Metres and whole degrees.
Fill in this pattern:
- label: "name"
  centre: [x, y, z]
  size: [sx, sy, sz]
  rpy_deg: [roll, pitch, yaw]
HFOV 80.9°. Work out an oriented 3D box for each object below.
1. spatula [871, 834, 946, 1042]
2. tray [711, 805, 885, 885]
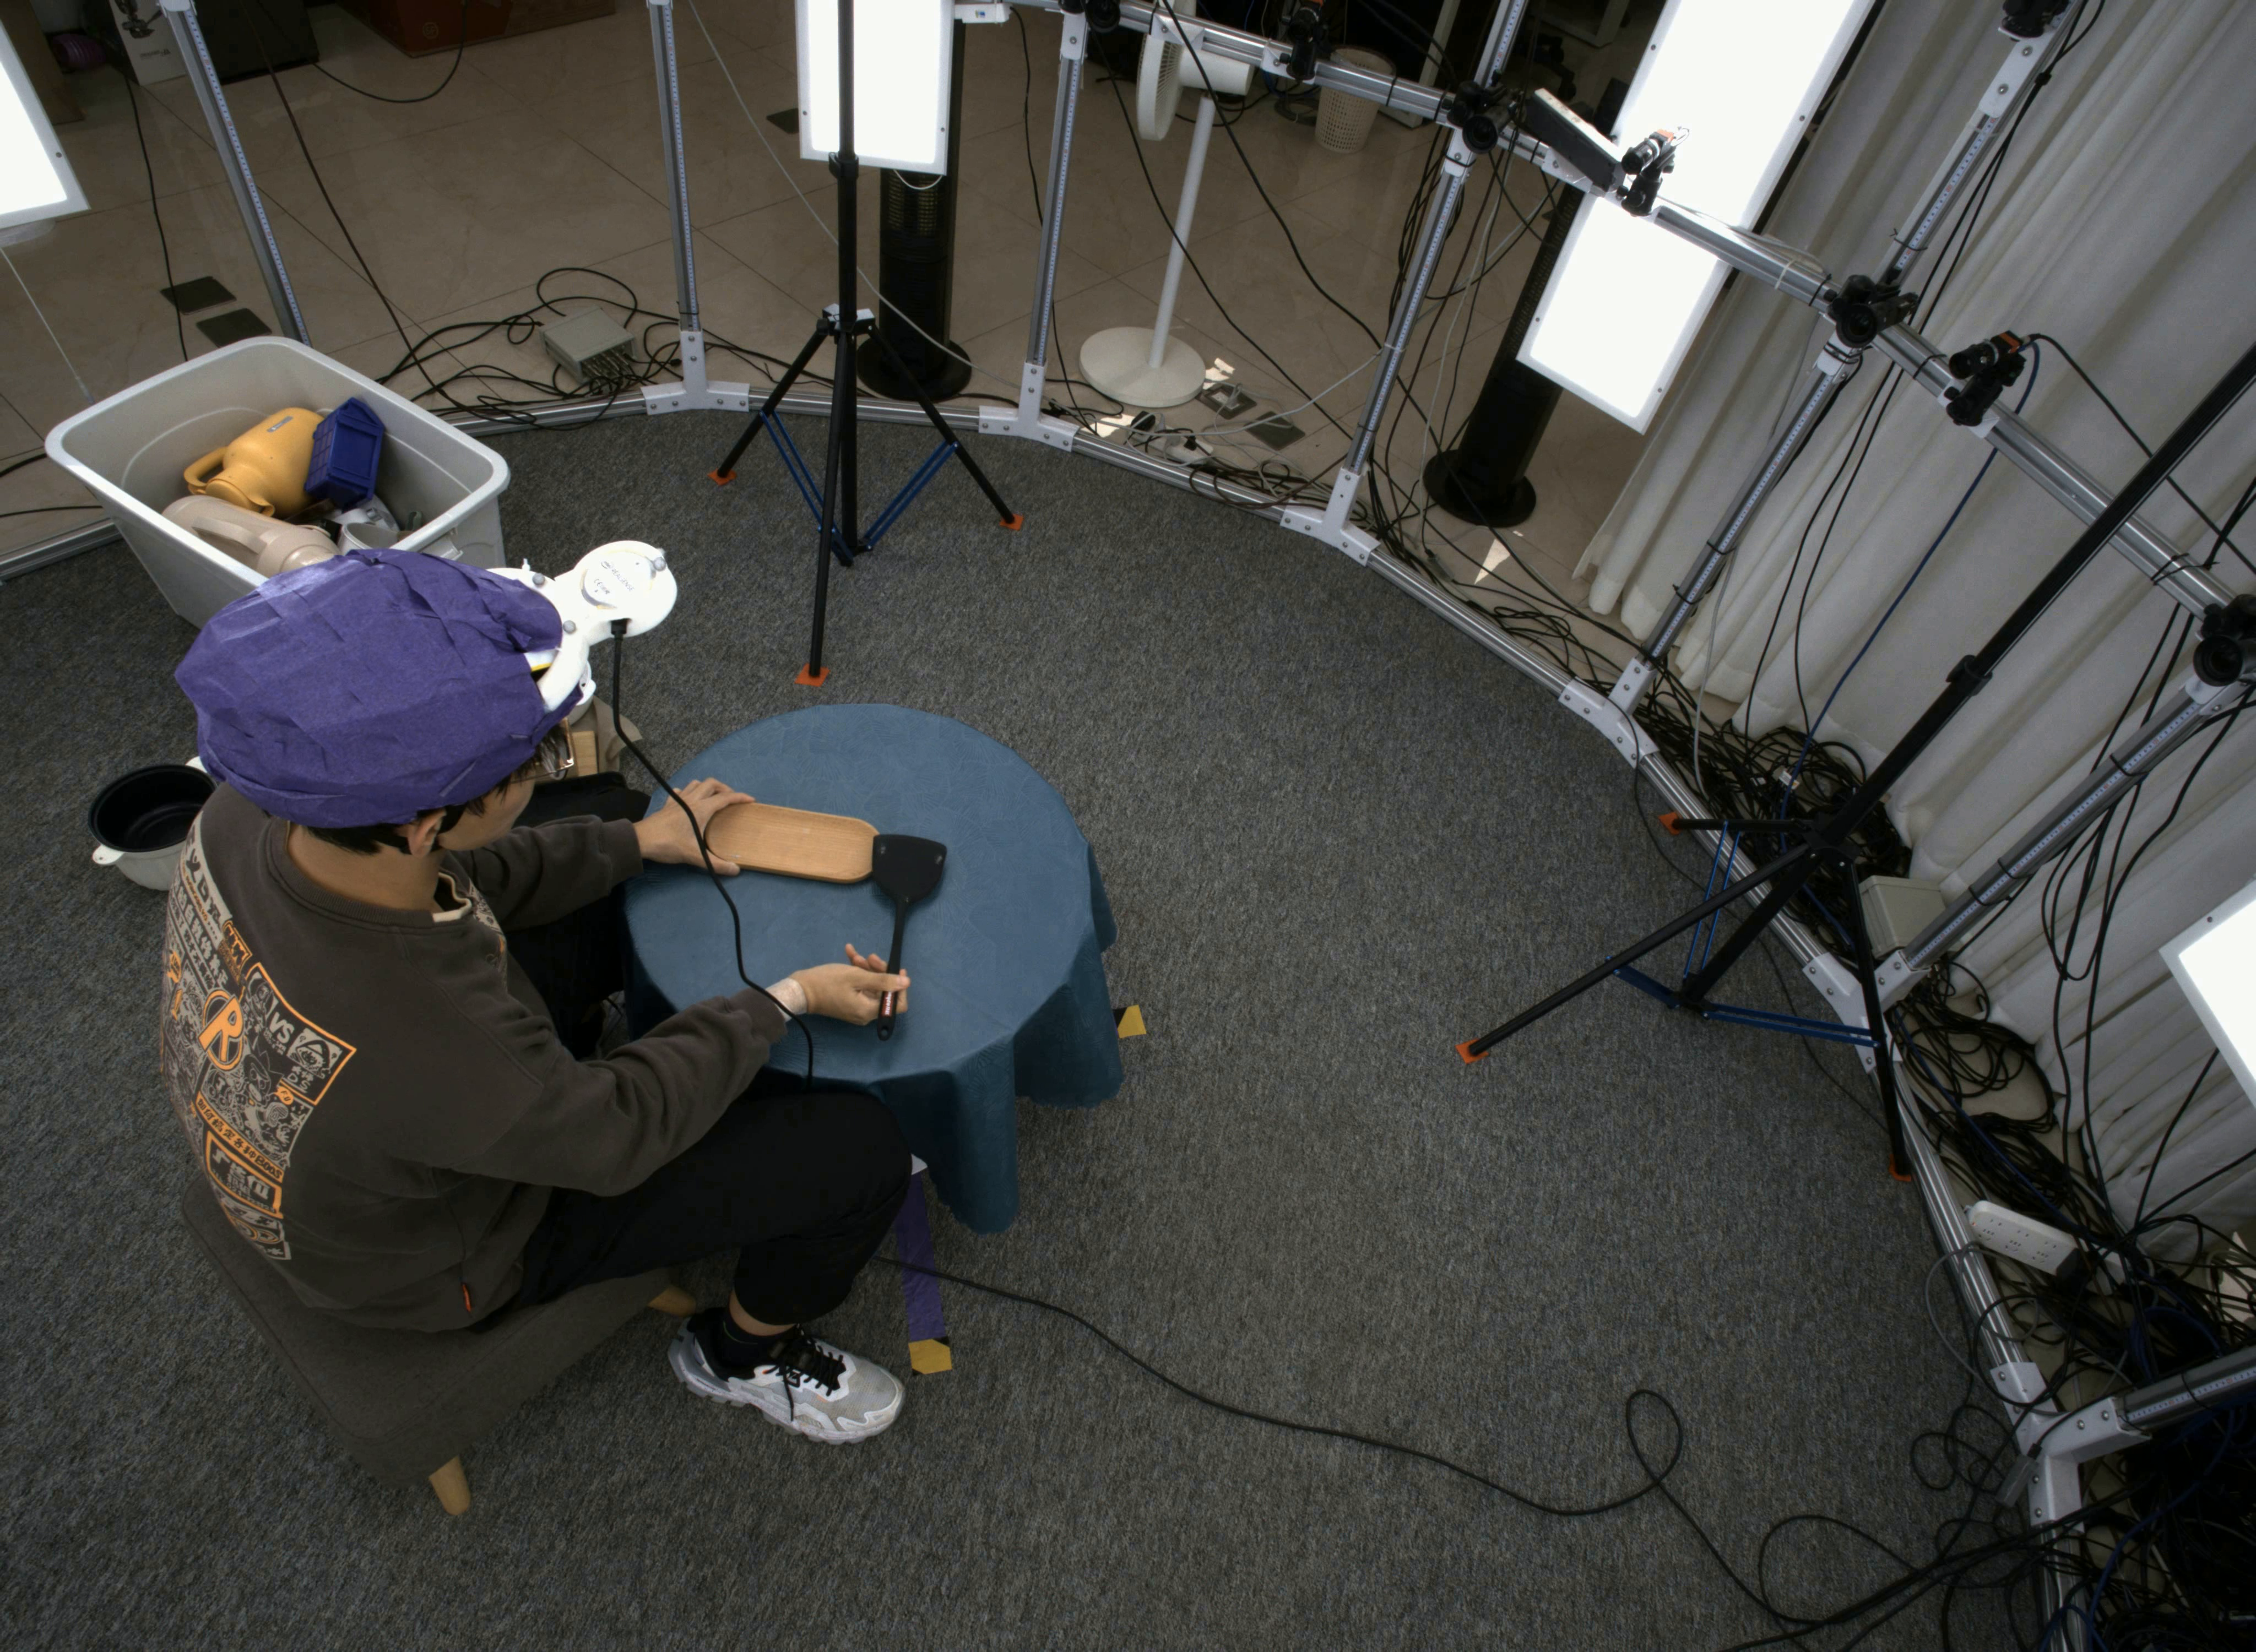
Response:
- label: "spatula"
  centre: [-0.285, 0.131, 1.616]
  size: [0.100, 0.041, 0.318]
  rpy_deg: [8, 40, -11]
- label: "tray"
  centre: [-0.433, 0.024, 1.708]
  size: [0.230, 0.021, 0.100]
  rpy_deg: [9, 54, -8]
